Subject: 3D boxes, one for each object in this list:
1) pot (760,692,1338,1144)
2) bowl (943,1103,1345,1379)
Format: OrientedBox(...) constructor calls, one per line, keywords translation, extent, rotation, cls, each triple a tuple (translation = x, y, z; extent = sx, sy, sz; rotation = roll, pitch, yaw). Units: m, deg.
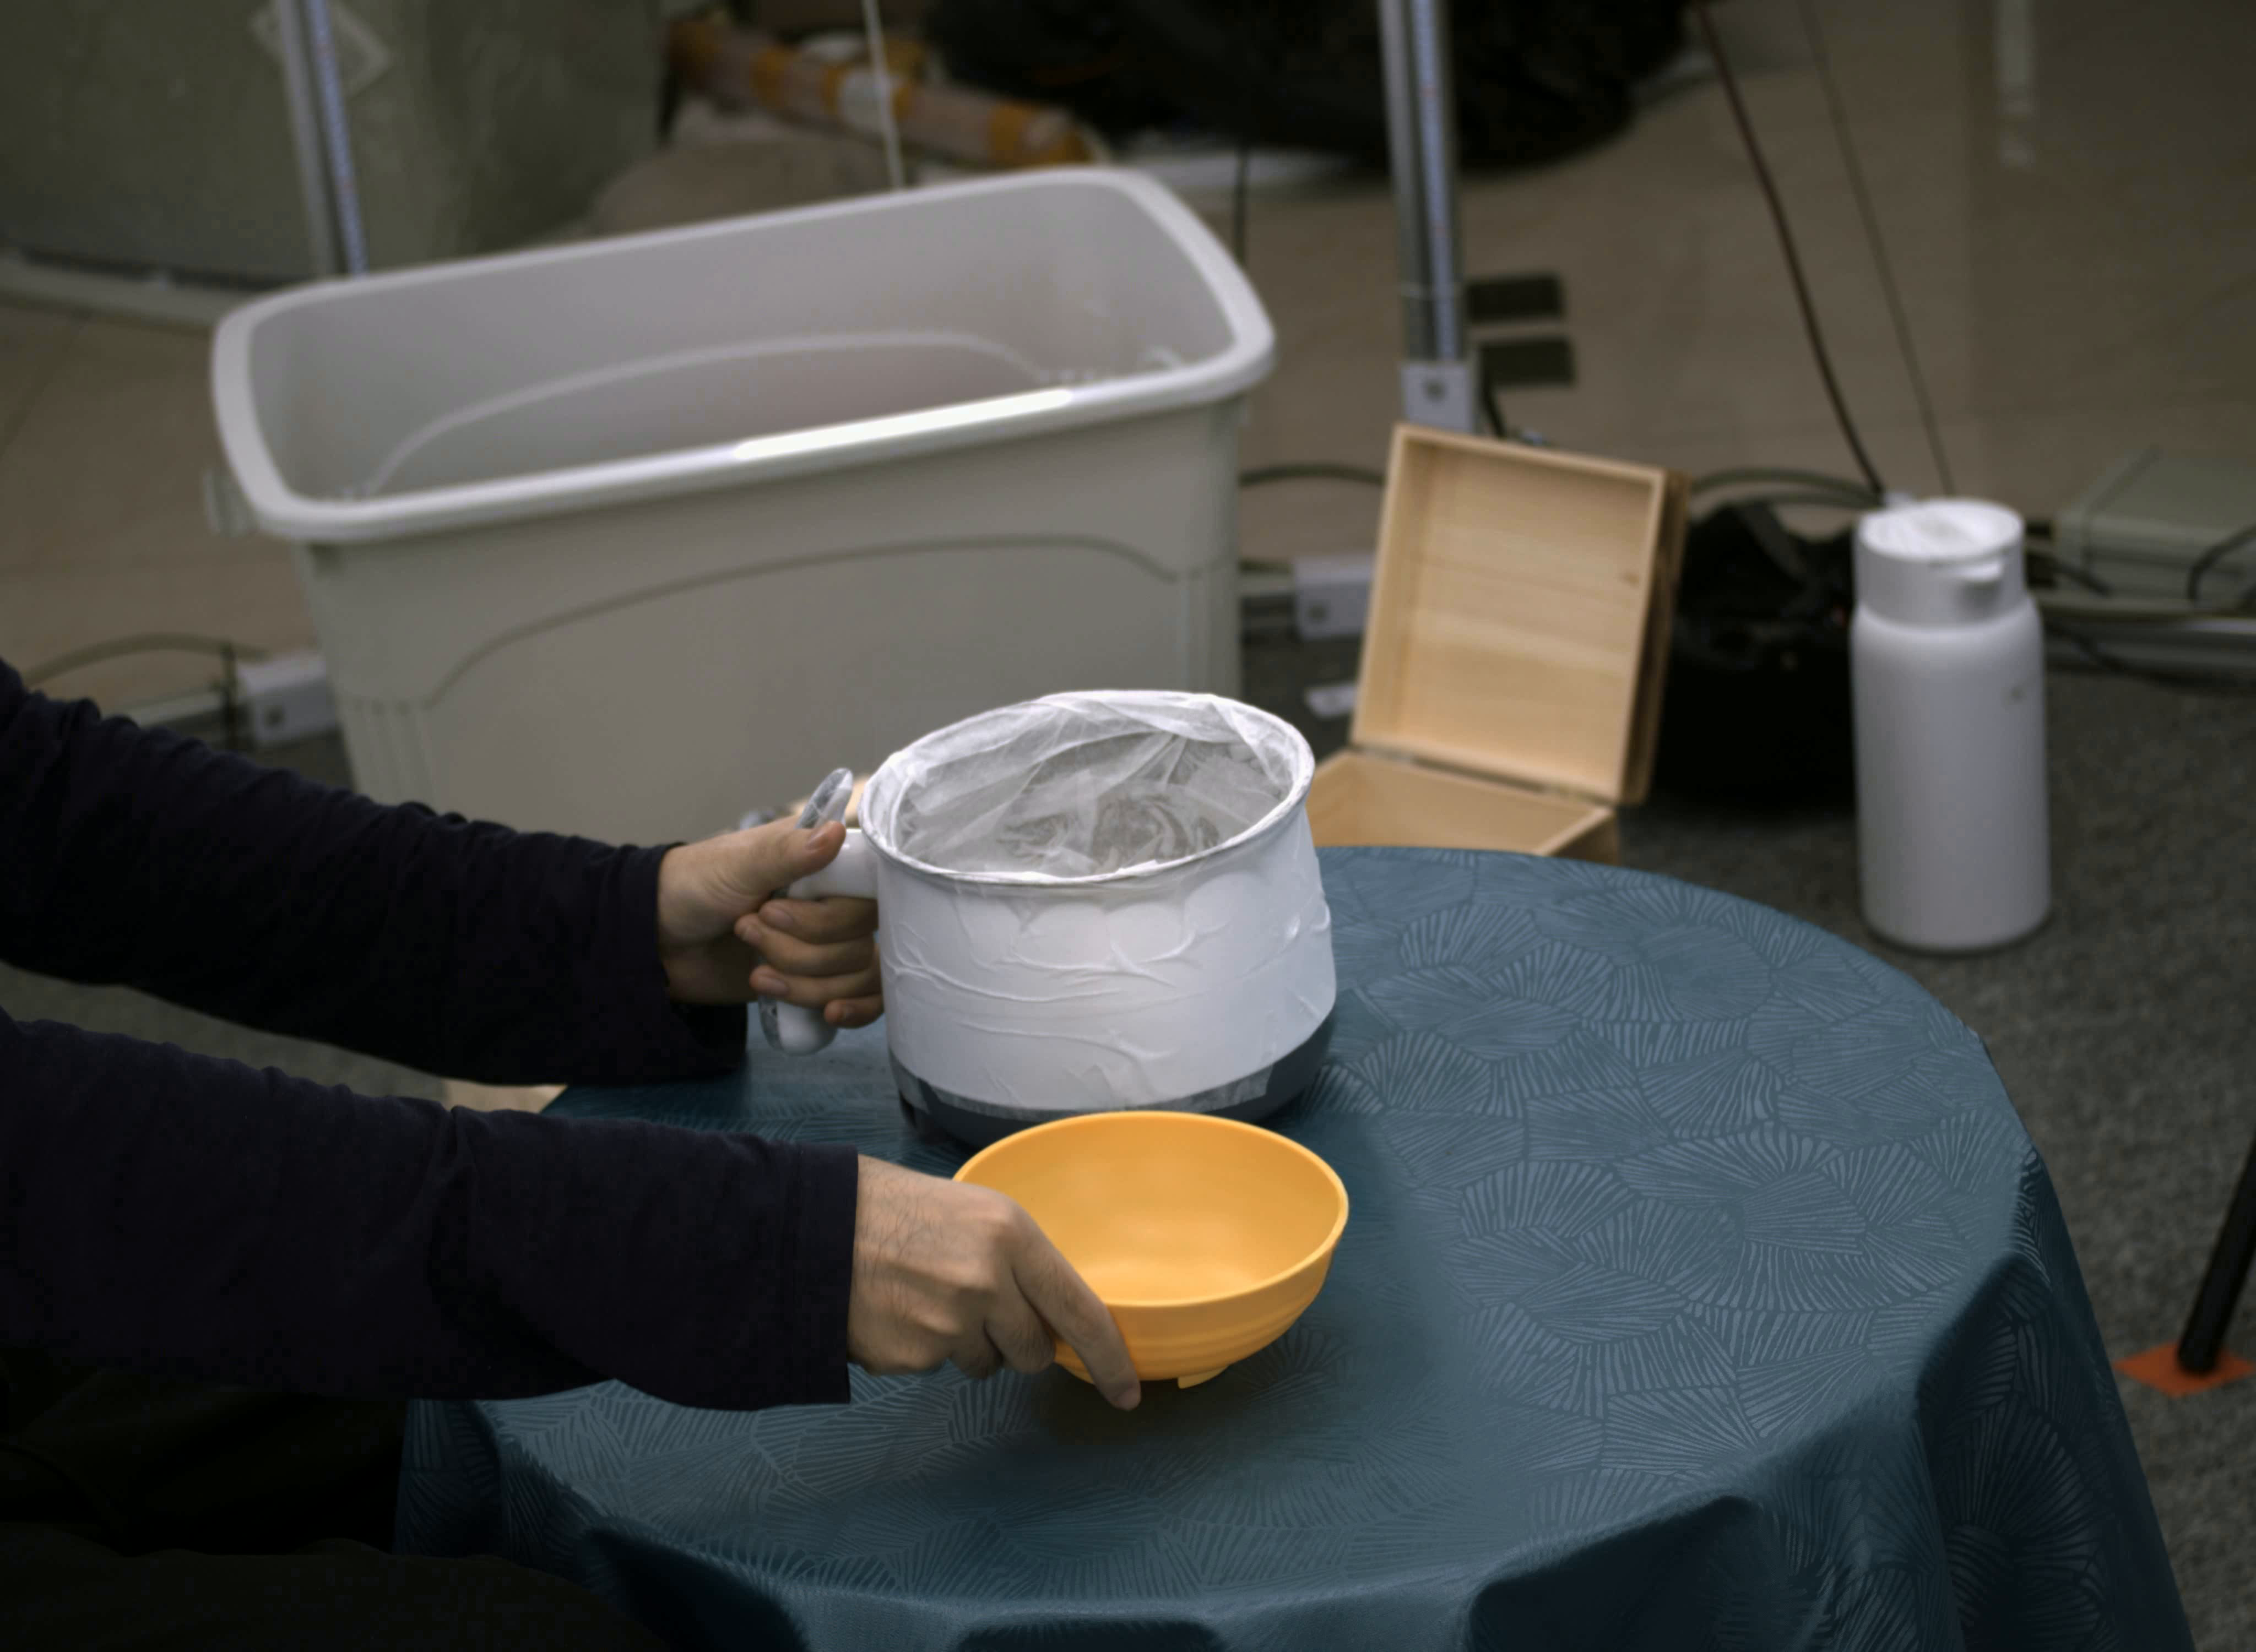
OrientedBox(translation=(-0.036, 0.042, 2.209), extent=(0.233, 0.139, 0.176), rotation=(-1, 26, 15), cls="pot")
OrientedBox(translation=(0.003, 0.155, 2.019), extent=(0.145, 0.061, 0.143), rotation=(5, 24, -2), cls="bowl")
